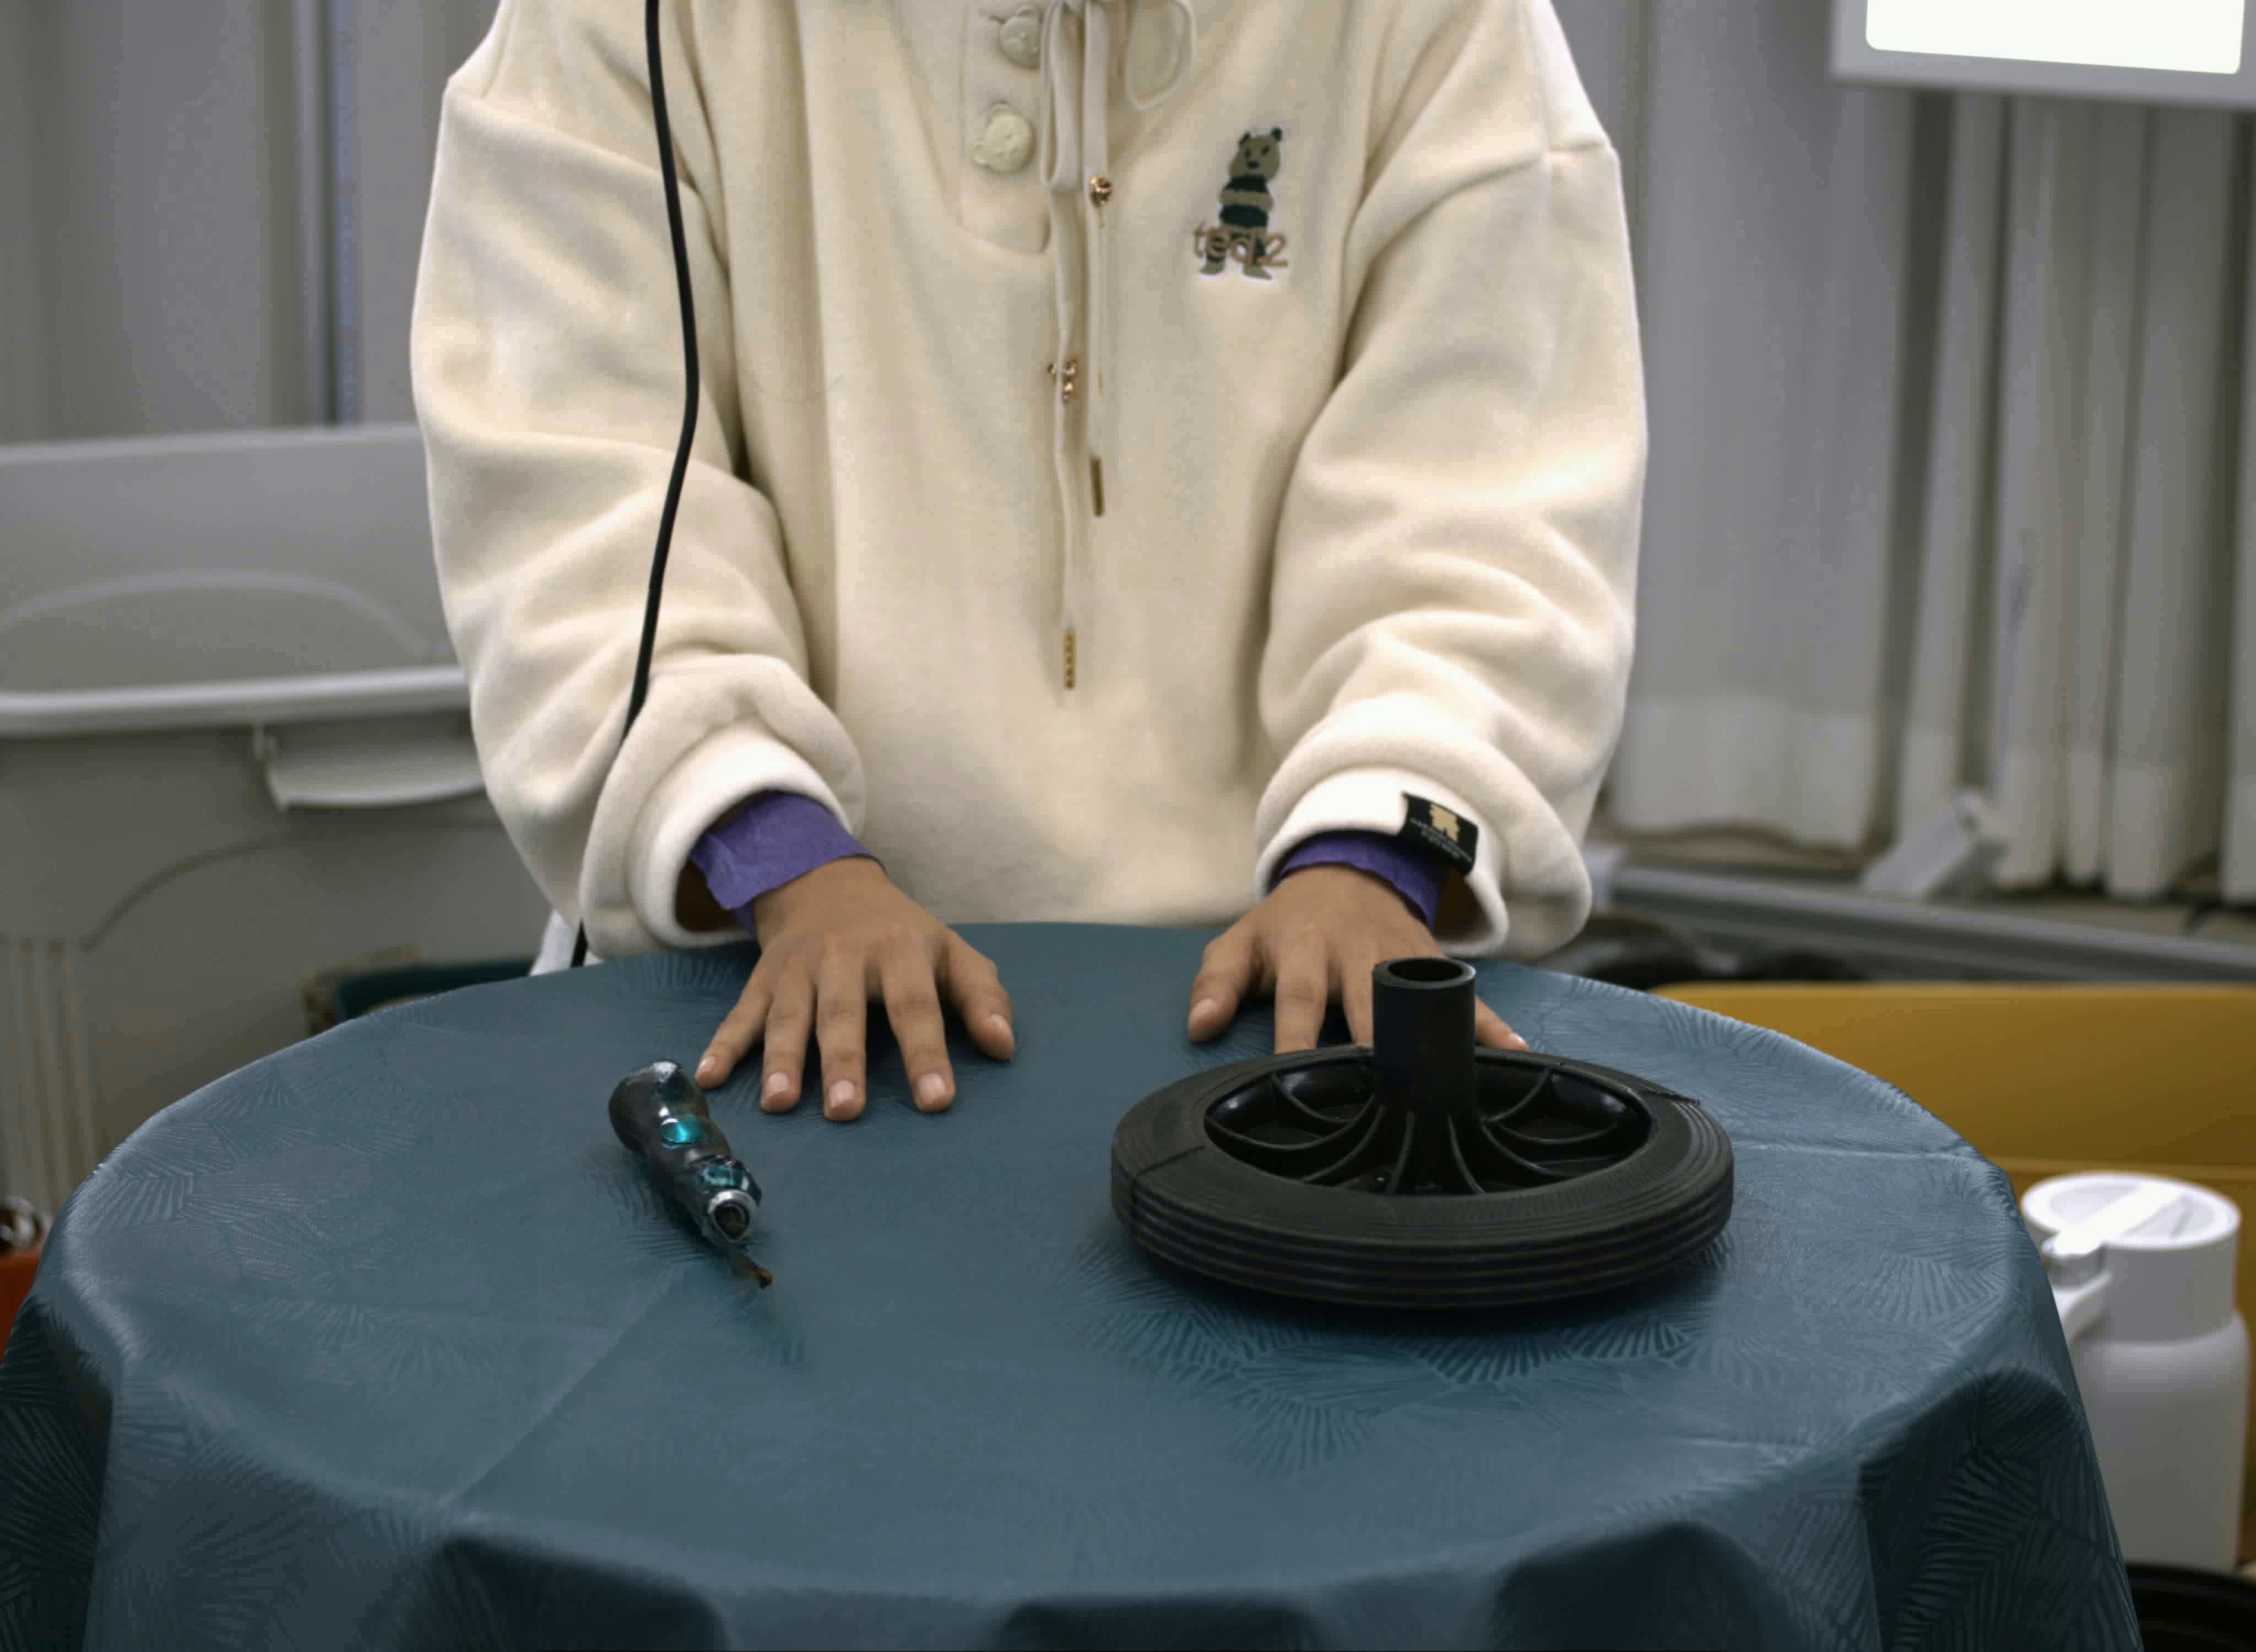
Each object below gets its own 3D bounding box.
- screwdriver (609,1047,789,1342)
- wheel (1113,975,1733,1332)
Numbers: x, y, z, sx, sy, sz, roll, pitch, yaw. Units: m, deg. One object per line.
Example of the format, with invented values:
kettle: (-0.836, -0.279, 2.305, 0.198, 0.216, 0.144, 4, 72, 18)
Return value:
screwdriver: (-0.125, 0.113, 1.577, 0.034, 0.034, 0.188, -4, 22, -17)
wheel: (0.088, 0.087, 1.576, 0.186, 0.080, 0.189, 4, 18, 13)
